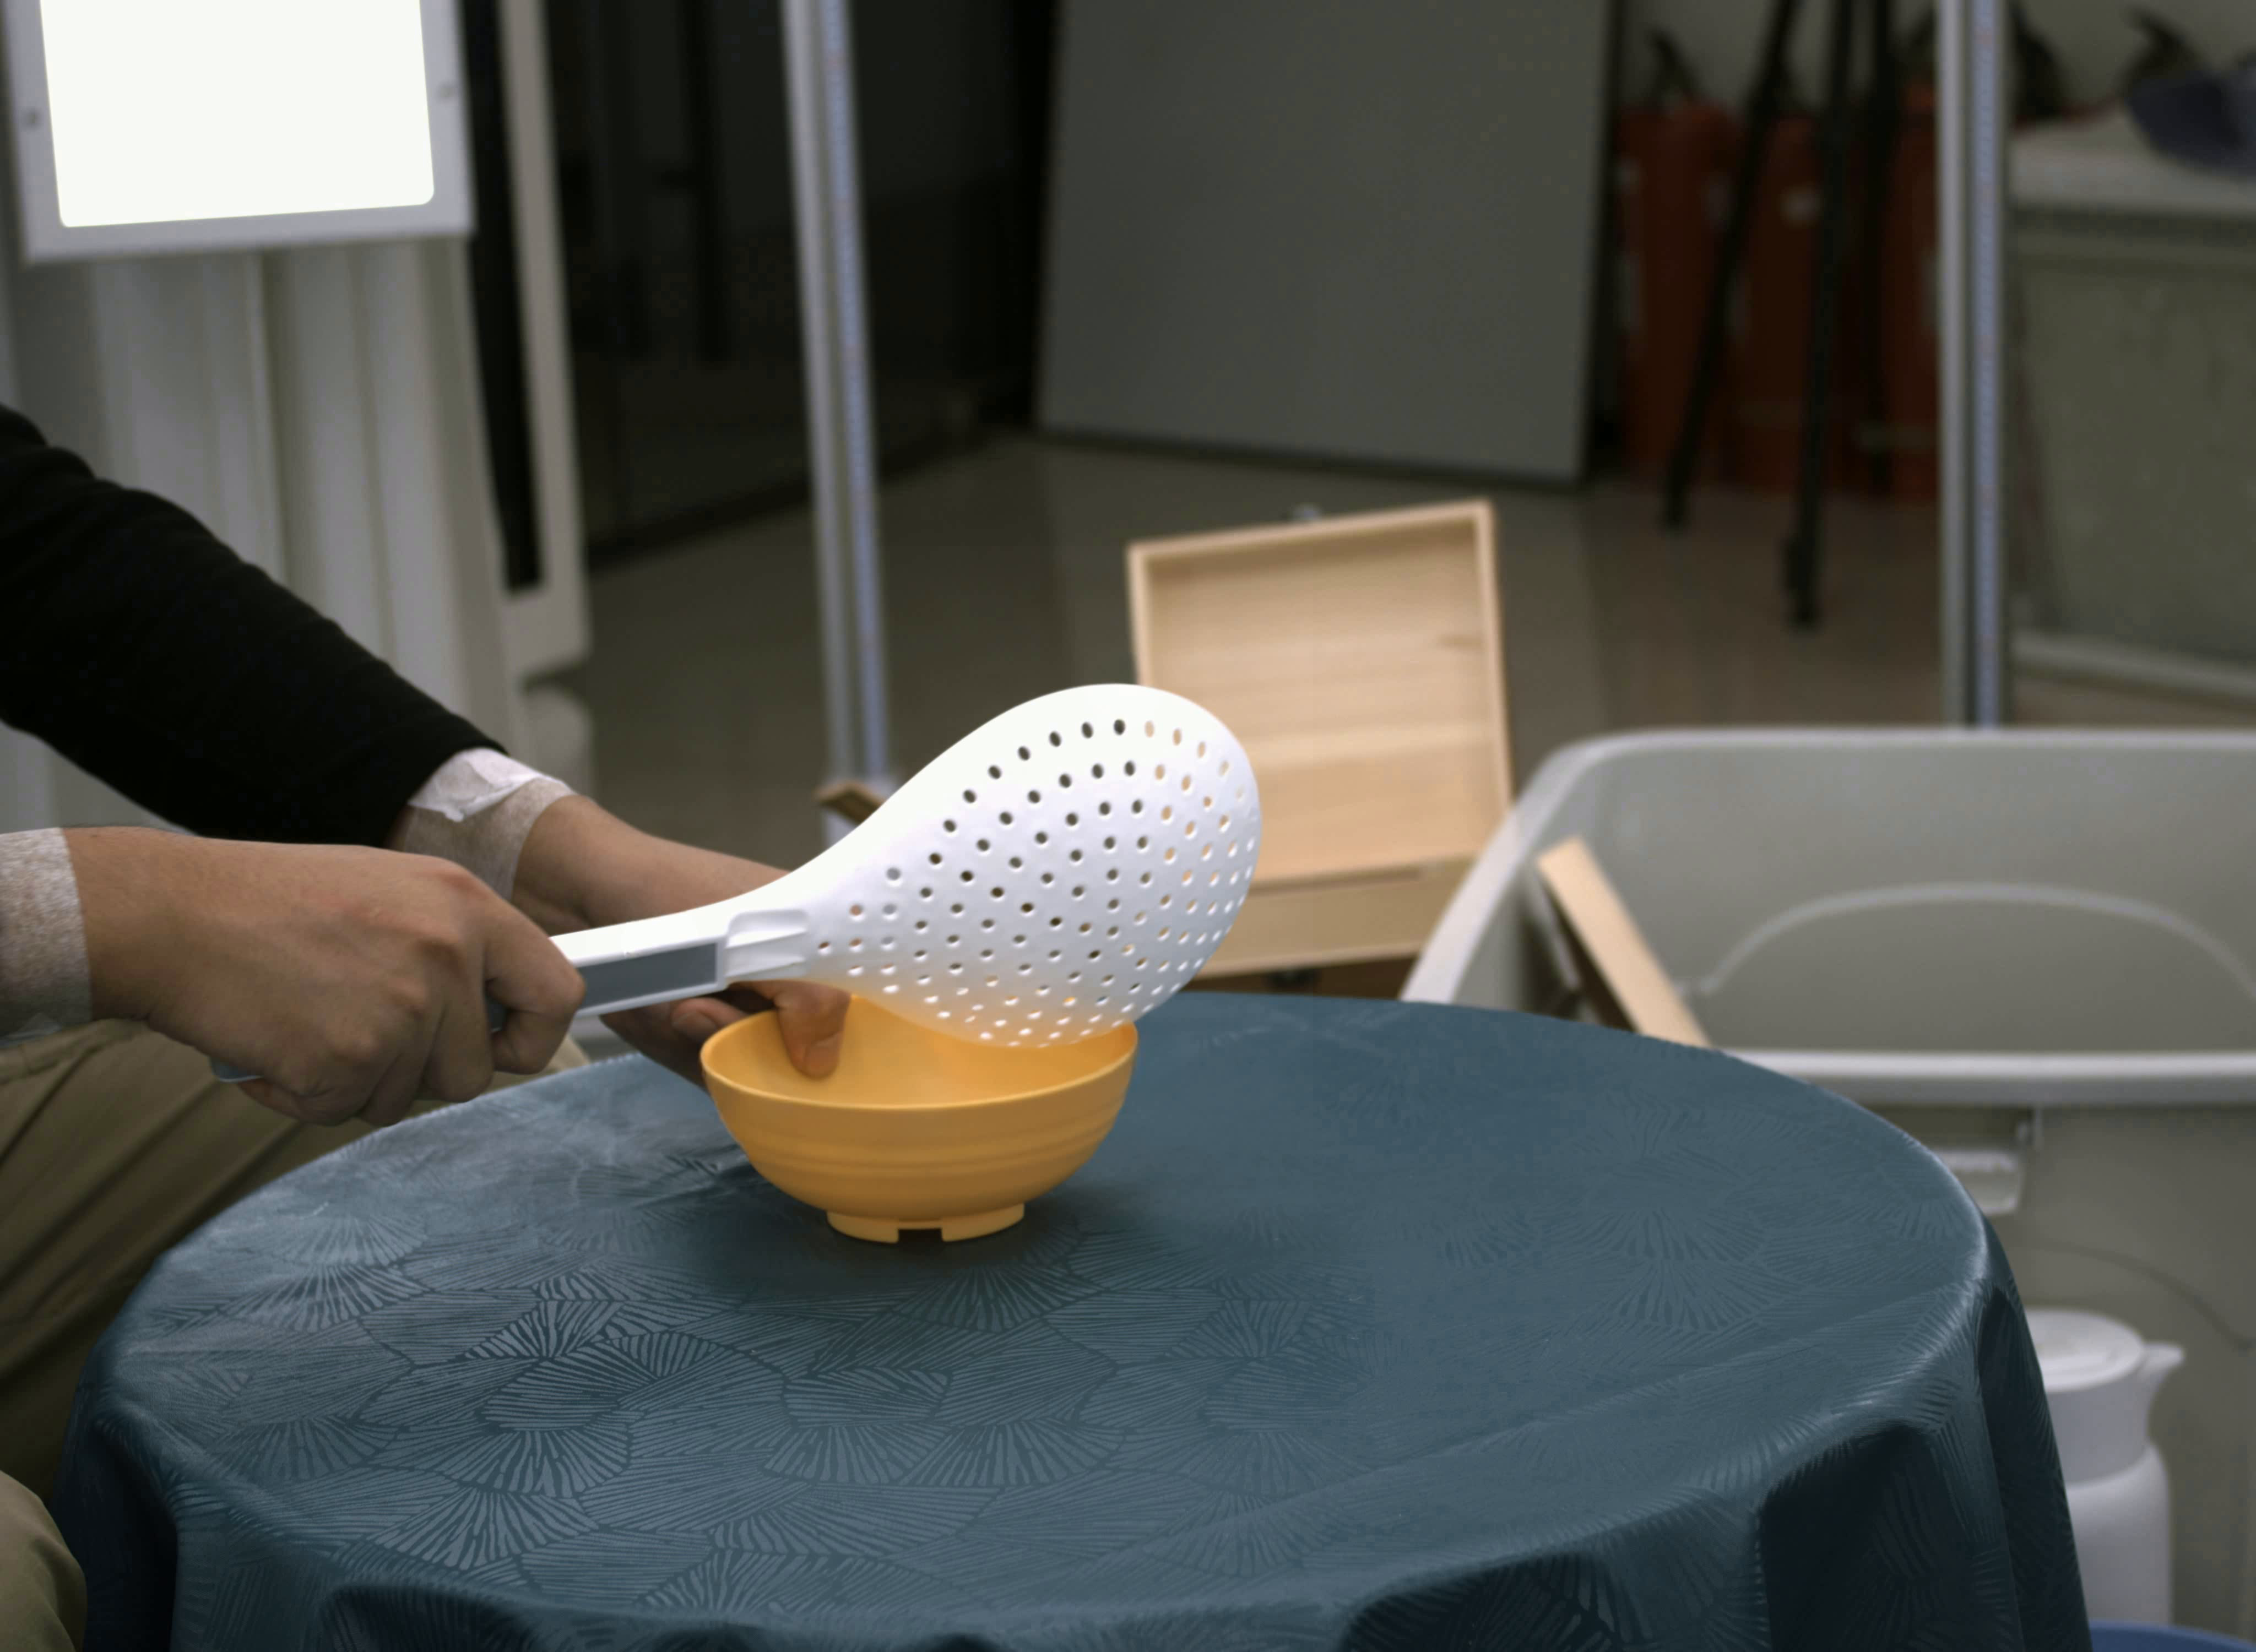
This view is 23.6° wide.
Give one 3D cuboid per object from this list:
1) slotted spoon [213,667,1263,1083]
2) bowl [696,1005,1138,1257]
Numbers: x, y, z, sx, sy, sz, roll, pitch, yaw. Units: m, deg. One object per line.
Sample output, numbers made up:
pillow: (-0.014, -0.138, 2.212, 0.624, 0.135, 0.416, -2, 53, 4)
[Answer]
slotted spoon: (-0.114, 0.033, 1.682, 0.343, 0.137, 0.046, -8, 32, -15)
bowl: (-0.067, 0.102, 1.753, 0.143, 0.061, 0.145, -2, 11, -1)
